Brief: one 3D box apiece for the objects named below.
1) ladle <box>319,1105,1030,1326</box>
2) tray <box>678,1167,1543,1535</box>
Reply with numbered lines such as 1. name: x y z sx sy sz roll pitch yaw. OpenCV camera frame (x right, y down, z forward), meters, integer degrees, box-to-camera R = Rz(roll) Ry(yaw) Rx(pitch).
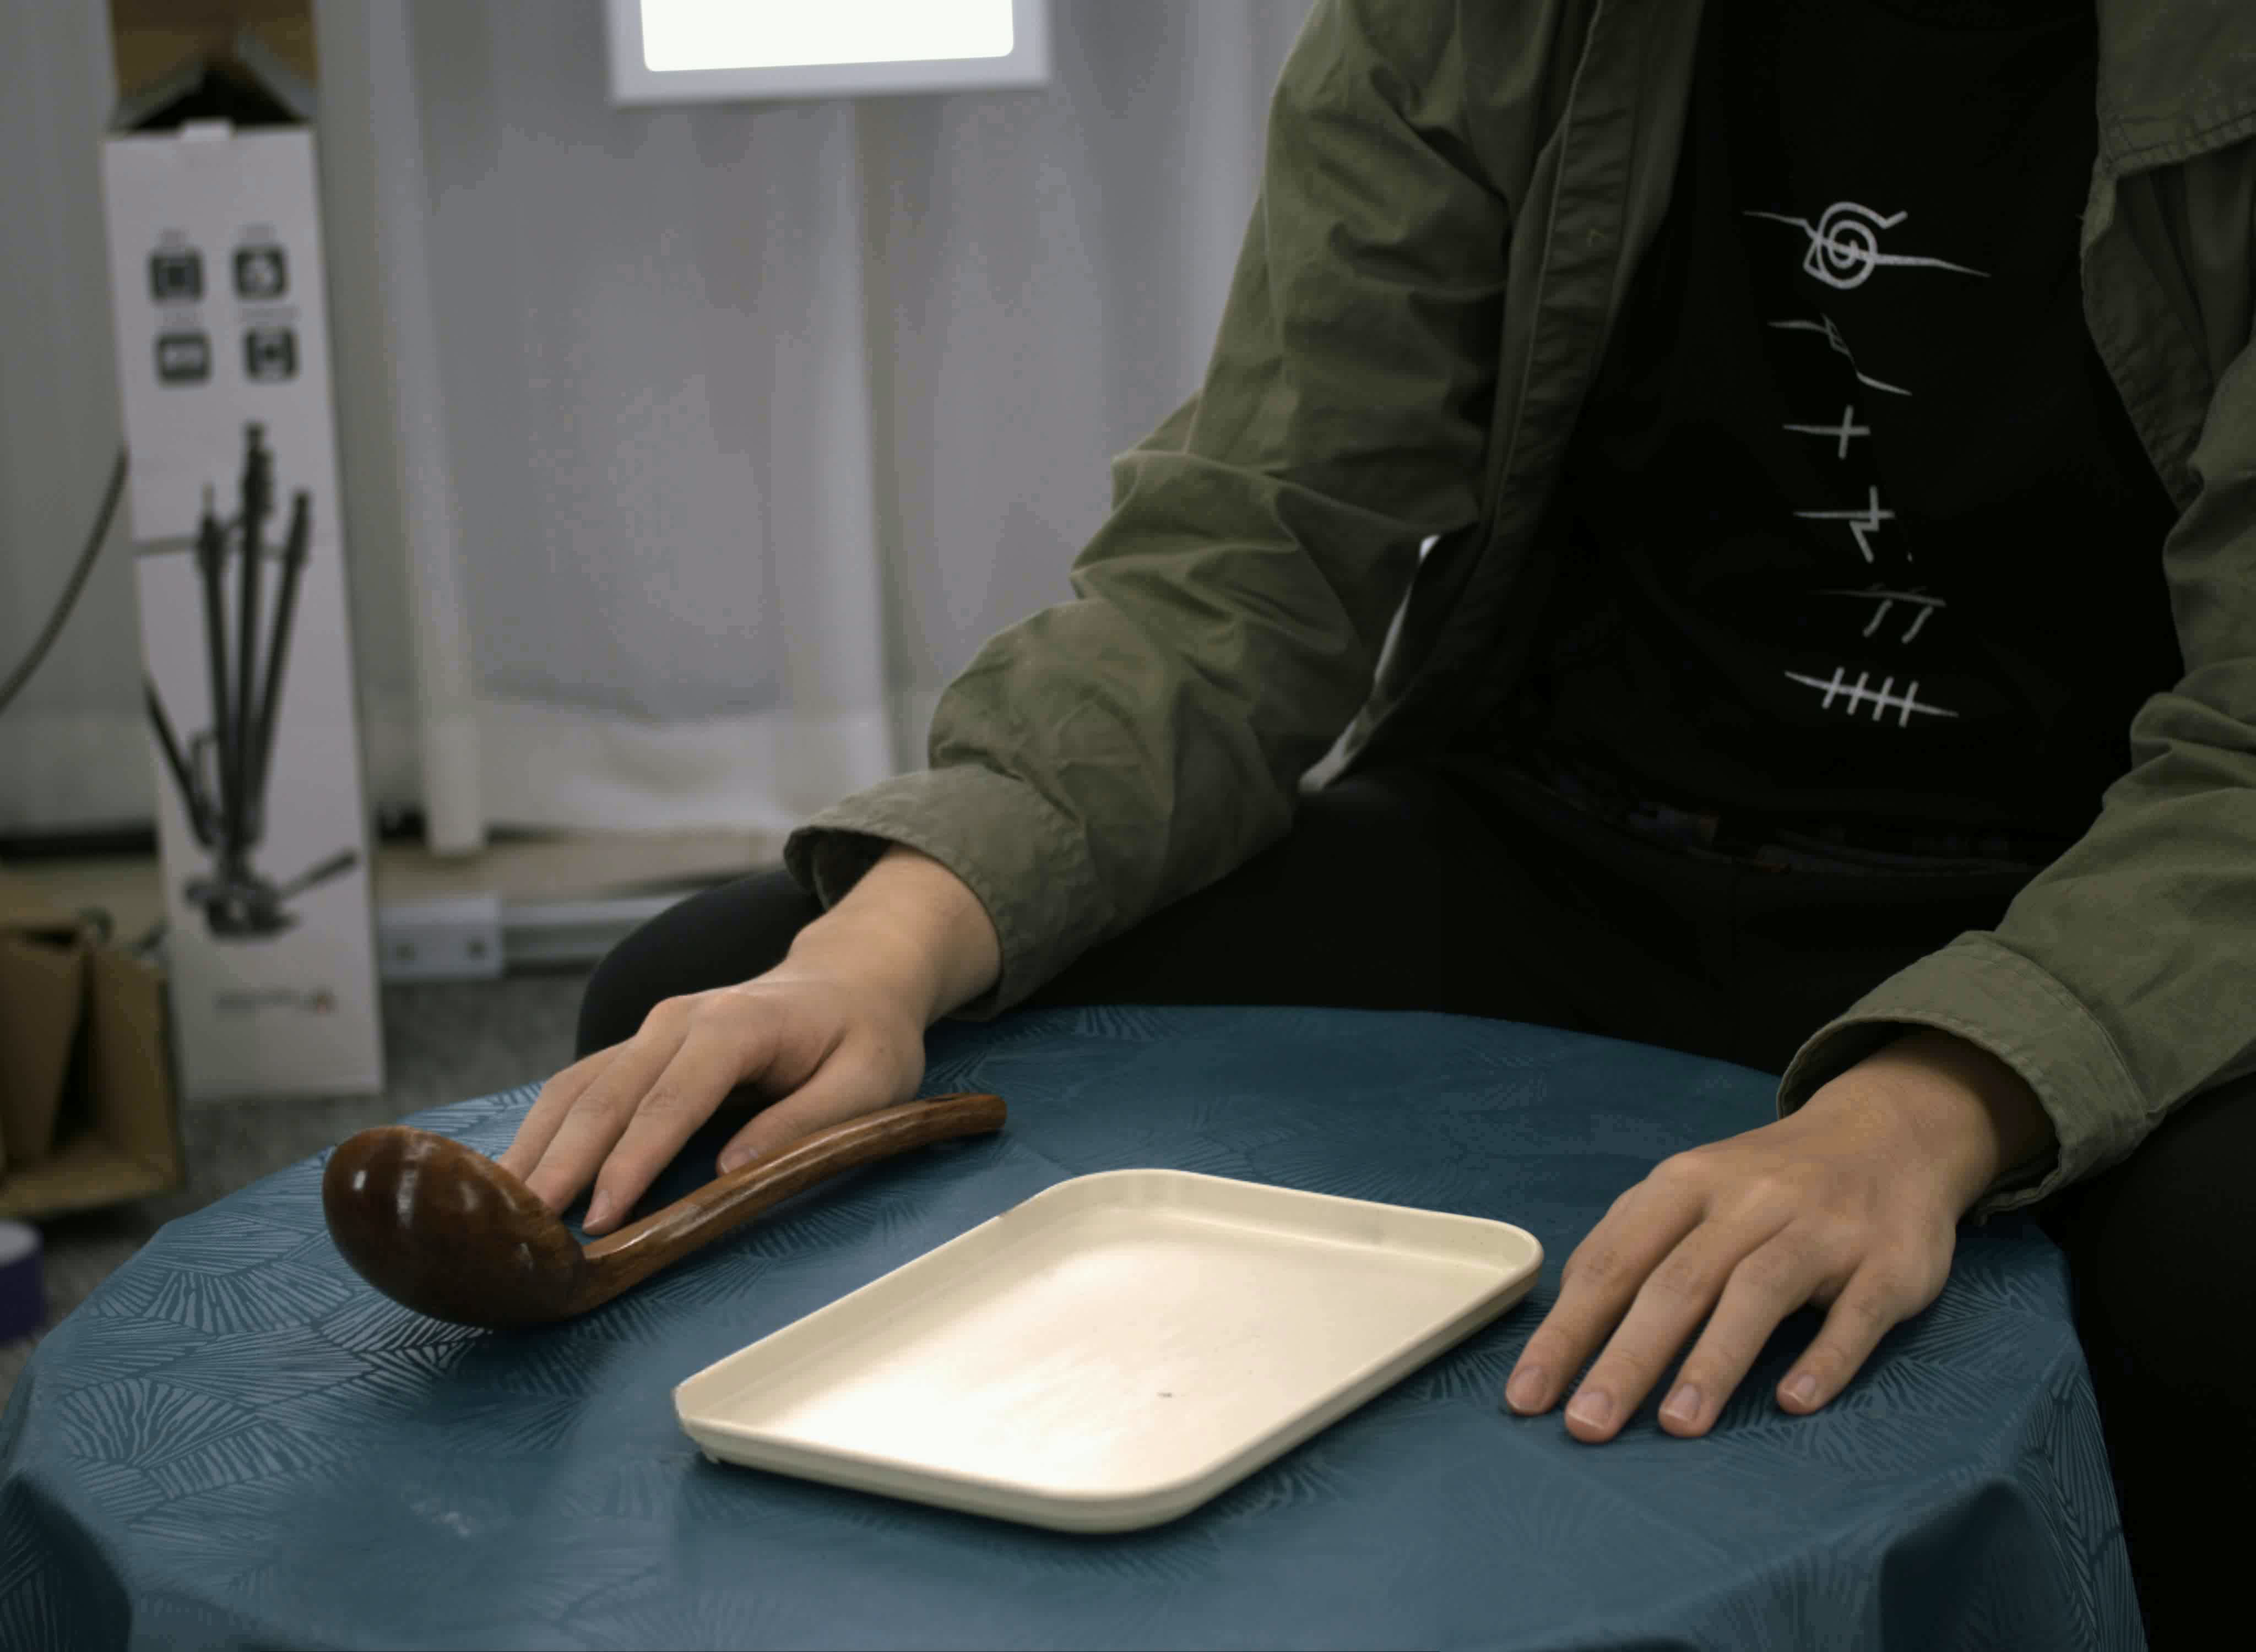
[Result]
1. ladle: -0.132 0.094 1.677 0.082 0.076 0.274 3 15 40
2. tray: -0.001 0.148 1.558 0.172 0.017 0.240 7 18 33
